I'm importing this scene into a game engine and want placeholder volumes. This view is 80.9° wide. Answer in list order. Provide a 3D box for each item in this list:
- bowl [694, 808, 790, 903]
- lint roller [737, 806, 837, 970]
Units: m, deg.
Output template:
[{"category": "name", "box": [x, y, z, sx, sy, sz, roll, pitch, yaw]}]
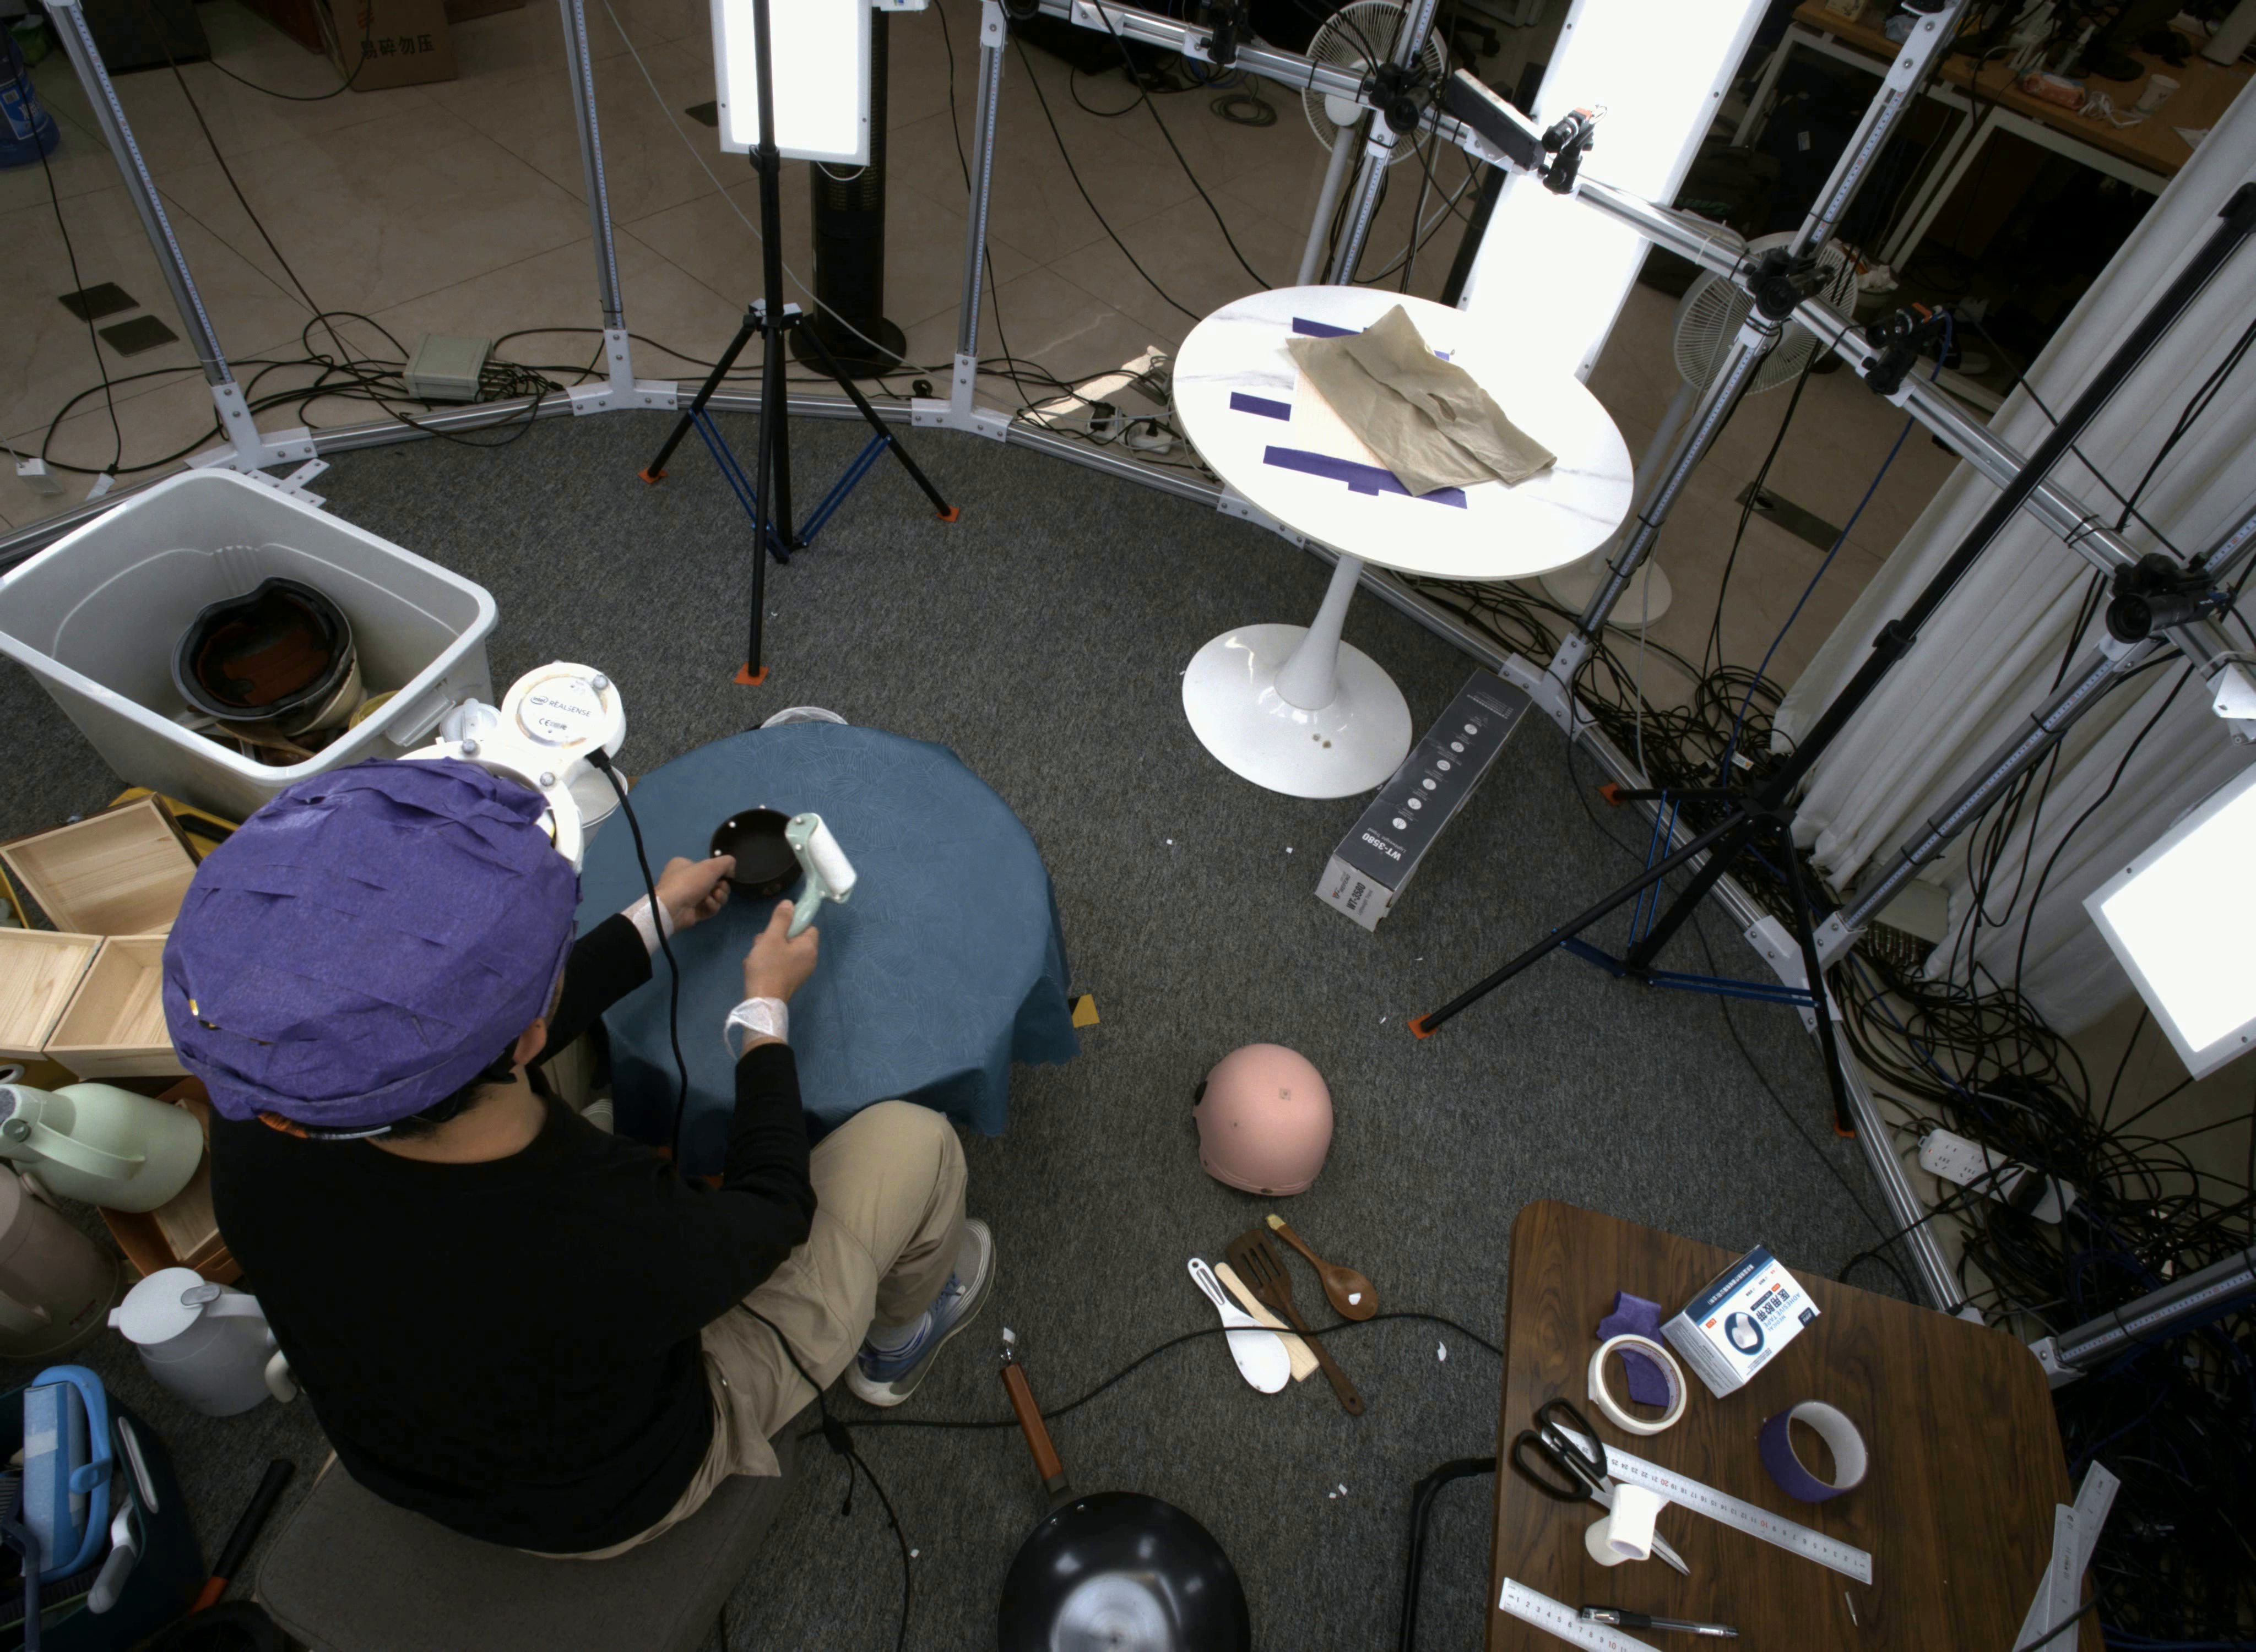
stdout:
[{"category": "bowl", "box": [-0.479, 0.043, 1.621, 0.117, 0.071, 0.116, 3, 57, -4]}, {"category": "lint roller", "box": [-0.405, 0.080, 1.514, 0.047, 0.121, 0.194, -3, 47, 17]}]
